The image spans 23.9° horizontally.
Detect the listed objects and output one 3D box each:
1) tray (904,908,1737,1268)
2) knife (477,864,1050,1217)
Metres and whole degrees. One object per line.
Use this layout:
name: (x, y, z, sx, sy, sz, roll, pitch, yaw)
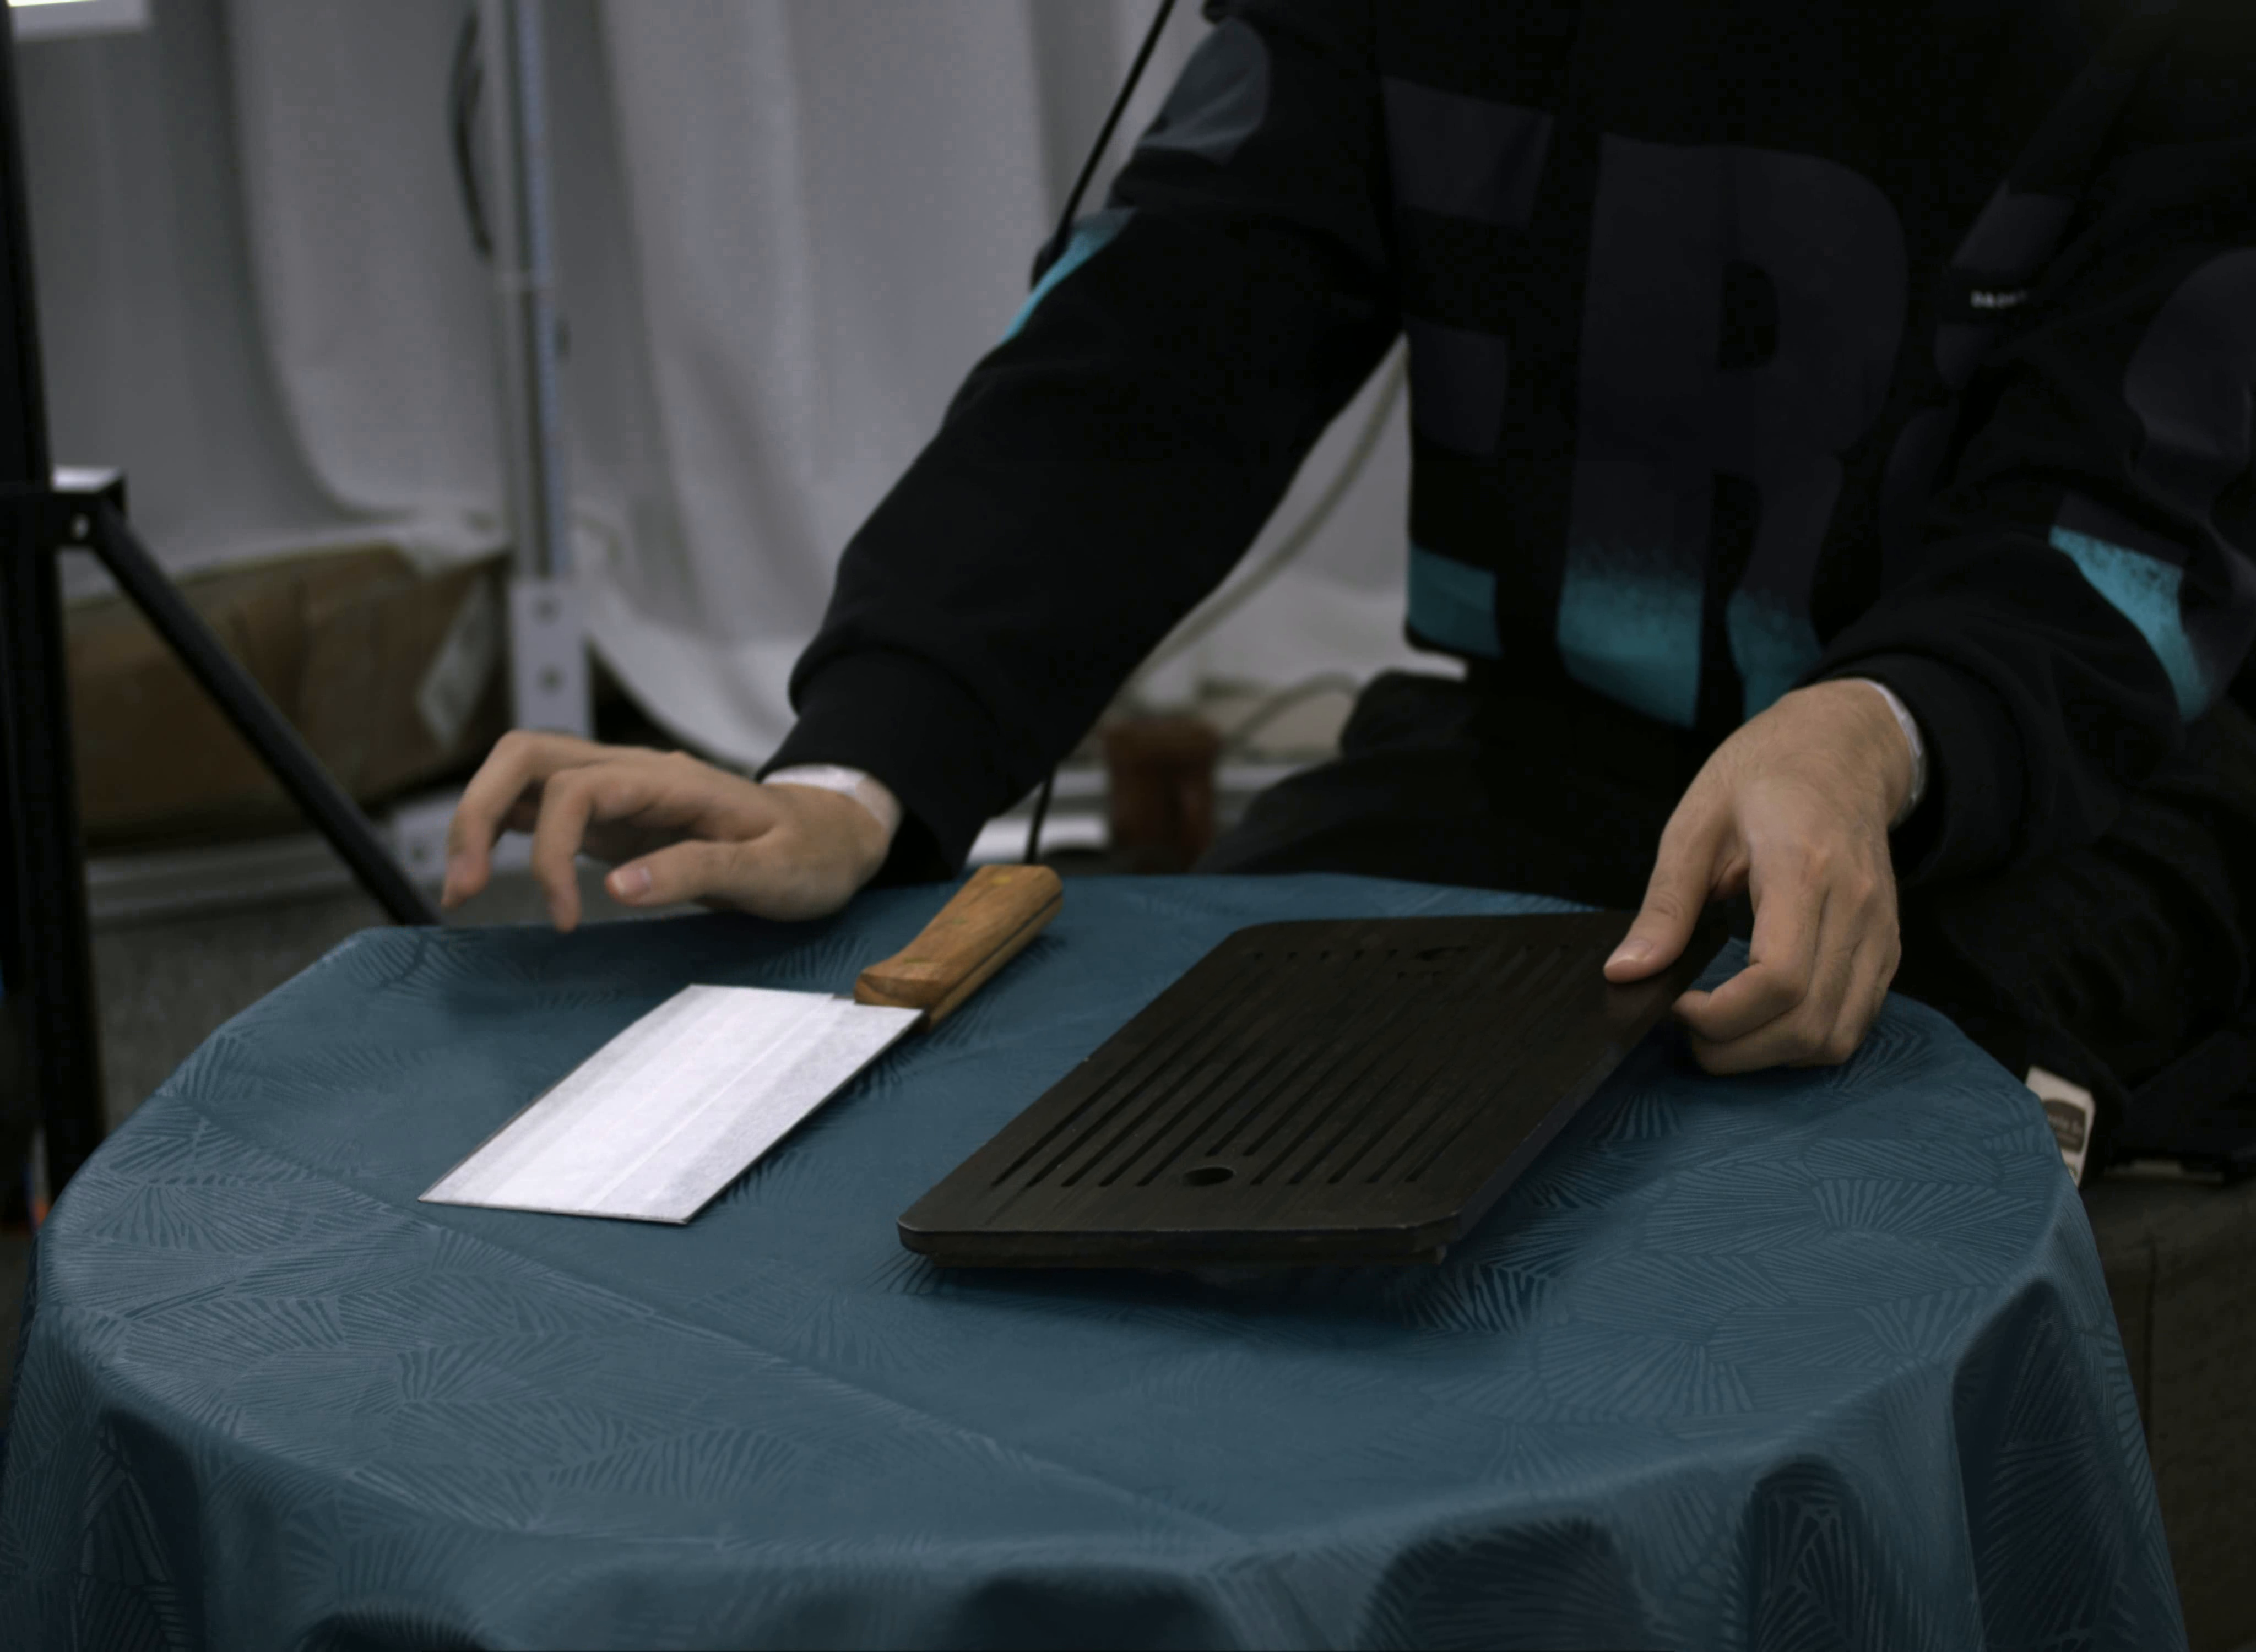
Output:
tray: (0.066, 0.078, 1.593, 0.172, 0.018, 0.302, -2, 15, 23)
knife: (-0.114, 0.066, 1.696, 0.094, 0.021, 0.302, 2, 19, 22)
